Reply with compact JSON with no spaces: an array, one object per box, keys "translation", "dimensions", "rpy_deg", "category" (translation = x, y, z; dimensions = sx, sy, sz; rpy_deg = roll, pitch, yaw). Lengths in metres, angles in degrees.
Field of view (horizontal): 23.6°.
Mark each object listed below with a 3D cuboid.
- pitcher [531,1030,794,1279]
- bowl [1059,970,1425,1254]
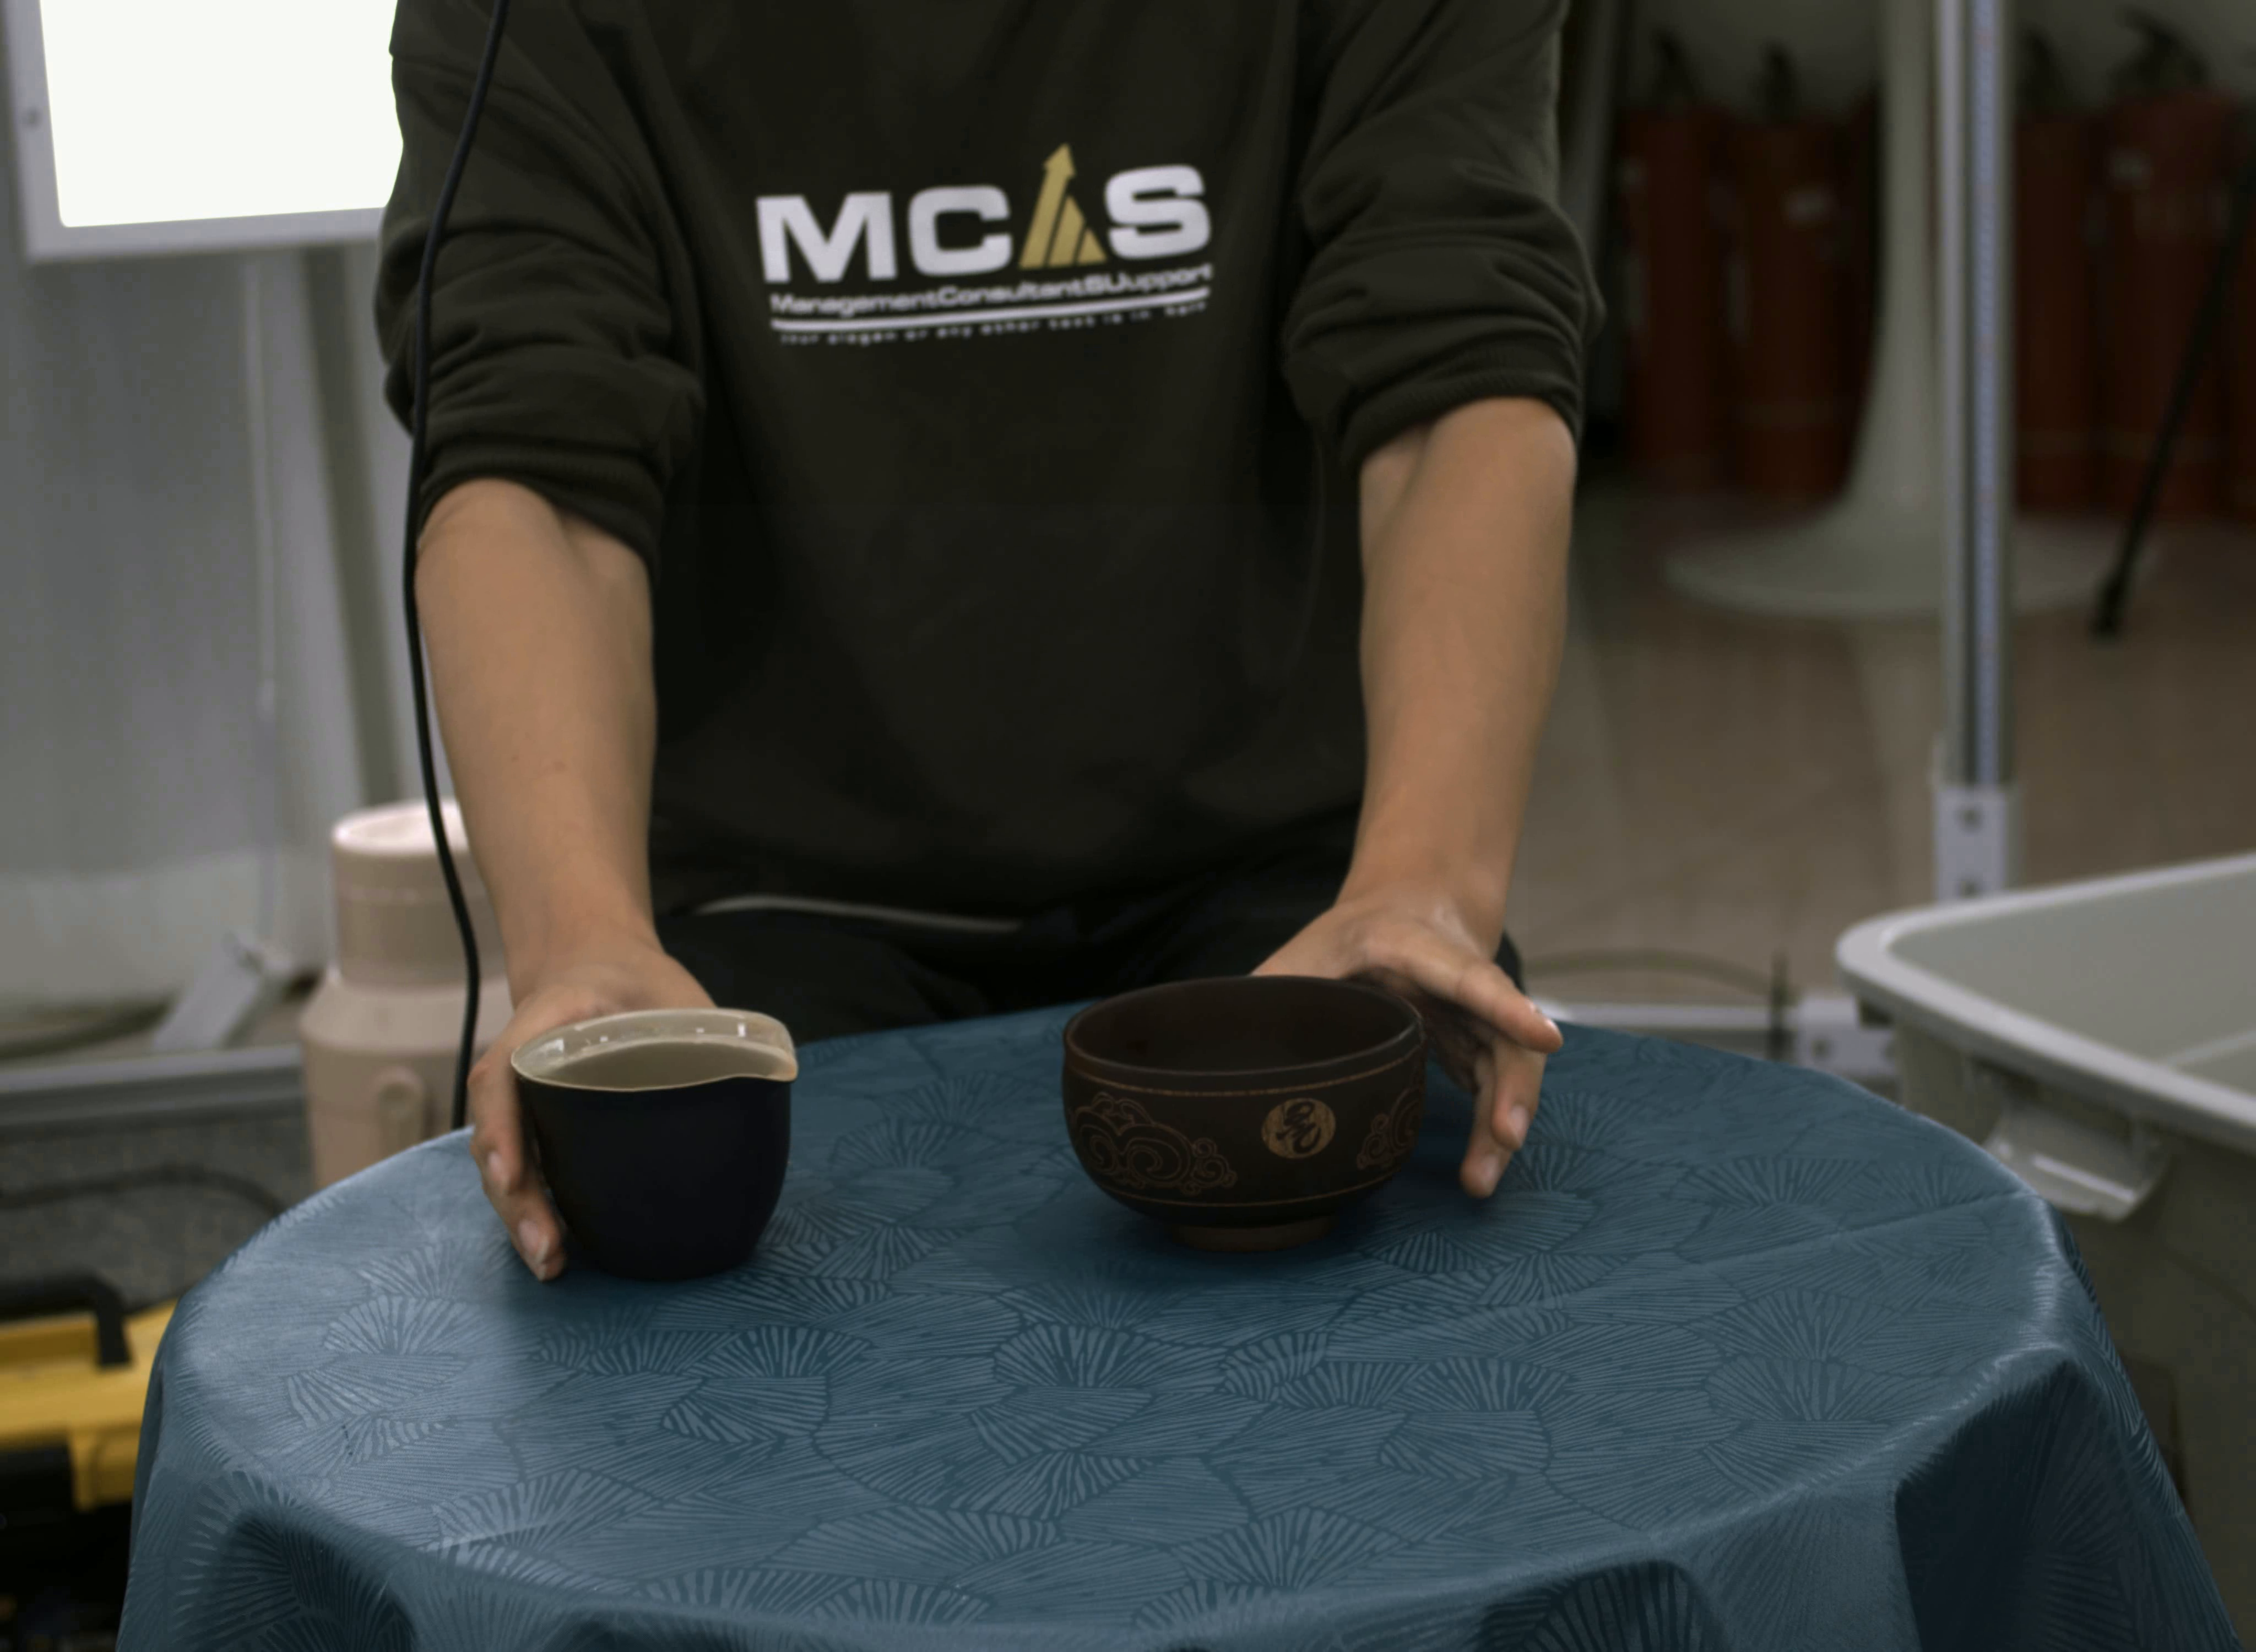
[{"translation":[-0.143,0.104,1.728],"dimensions":[0.097,0.072,0.082],"rpy_deg":[7,15,42],"category":"pitcher"},{"translation":[0.038,0.095,1.724],"dimensions":[0.116,0.070,0.118],"rpy_deg":[-5,15,0],"category":"bowl"}]
